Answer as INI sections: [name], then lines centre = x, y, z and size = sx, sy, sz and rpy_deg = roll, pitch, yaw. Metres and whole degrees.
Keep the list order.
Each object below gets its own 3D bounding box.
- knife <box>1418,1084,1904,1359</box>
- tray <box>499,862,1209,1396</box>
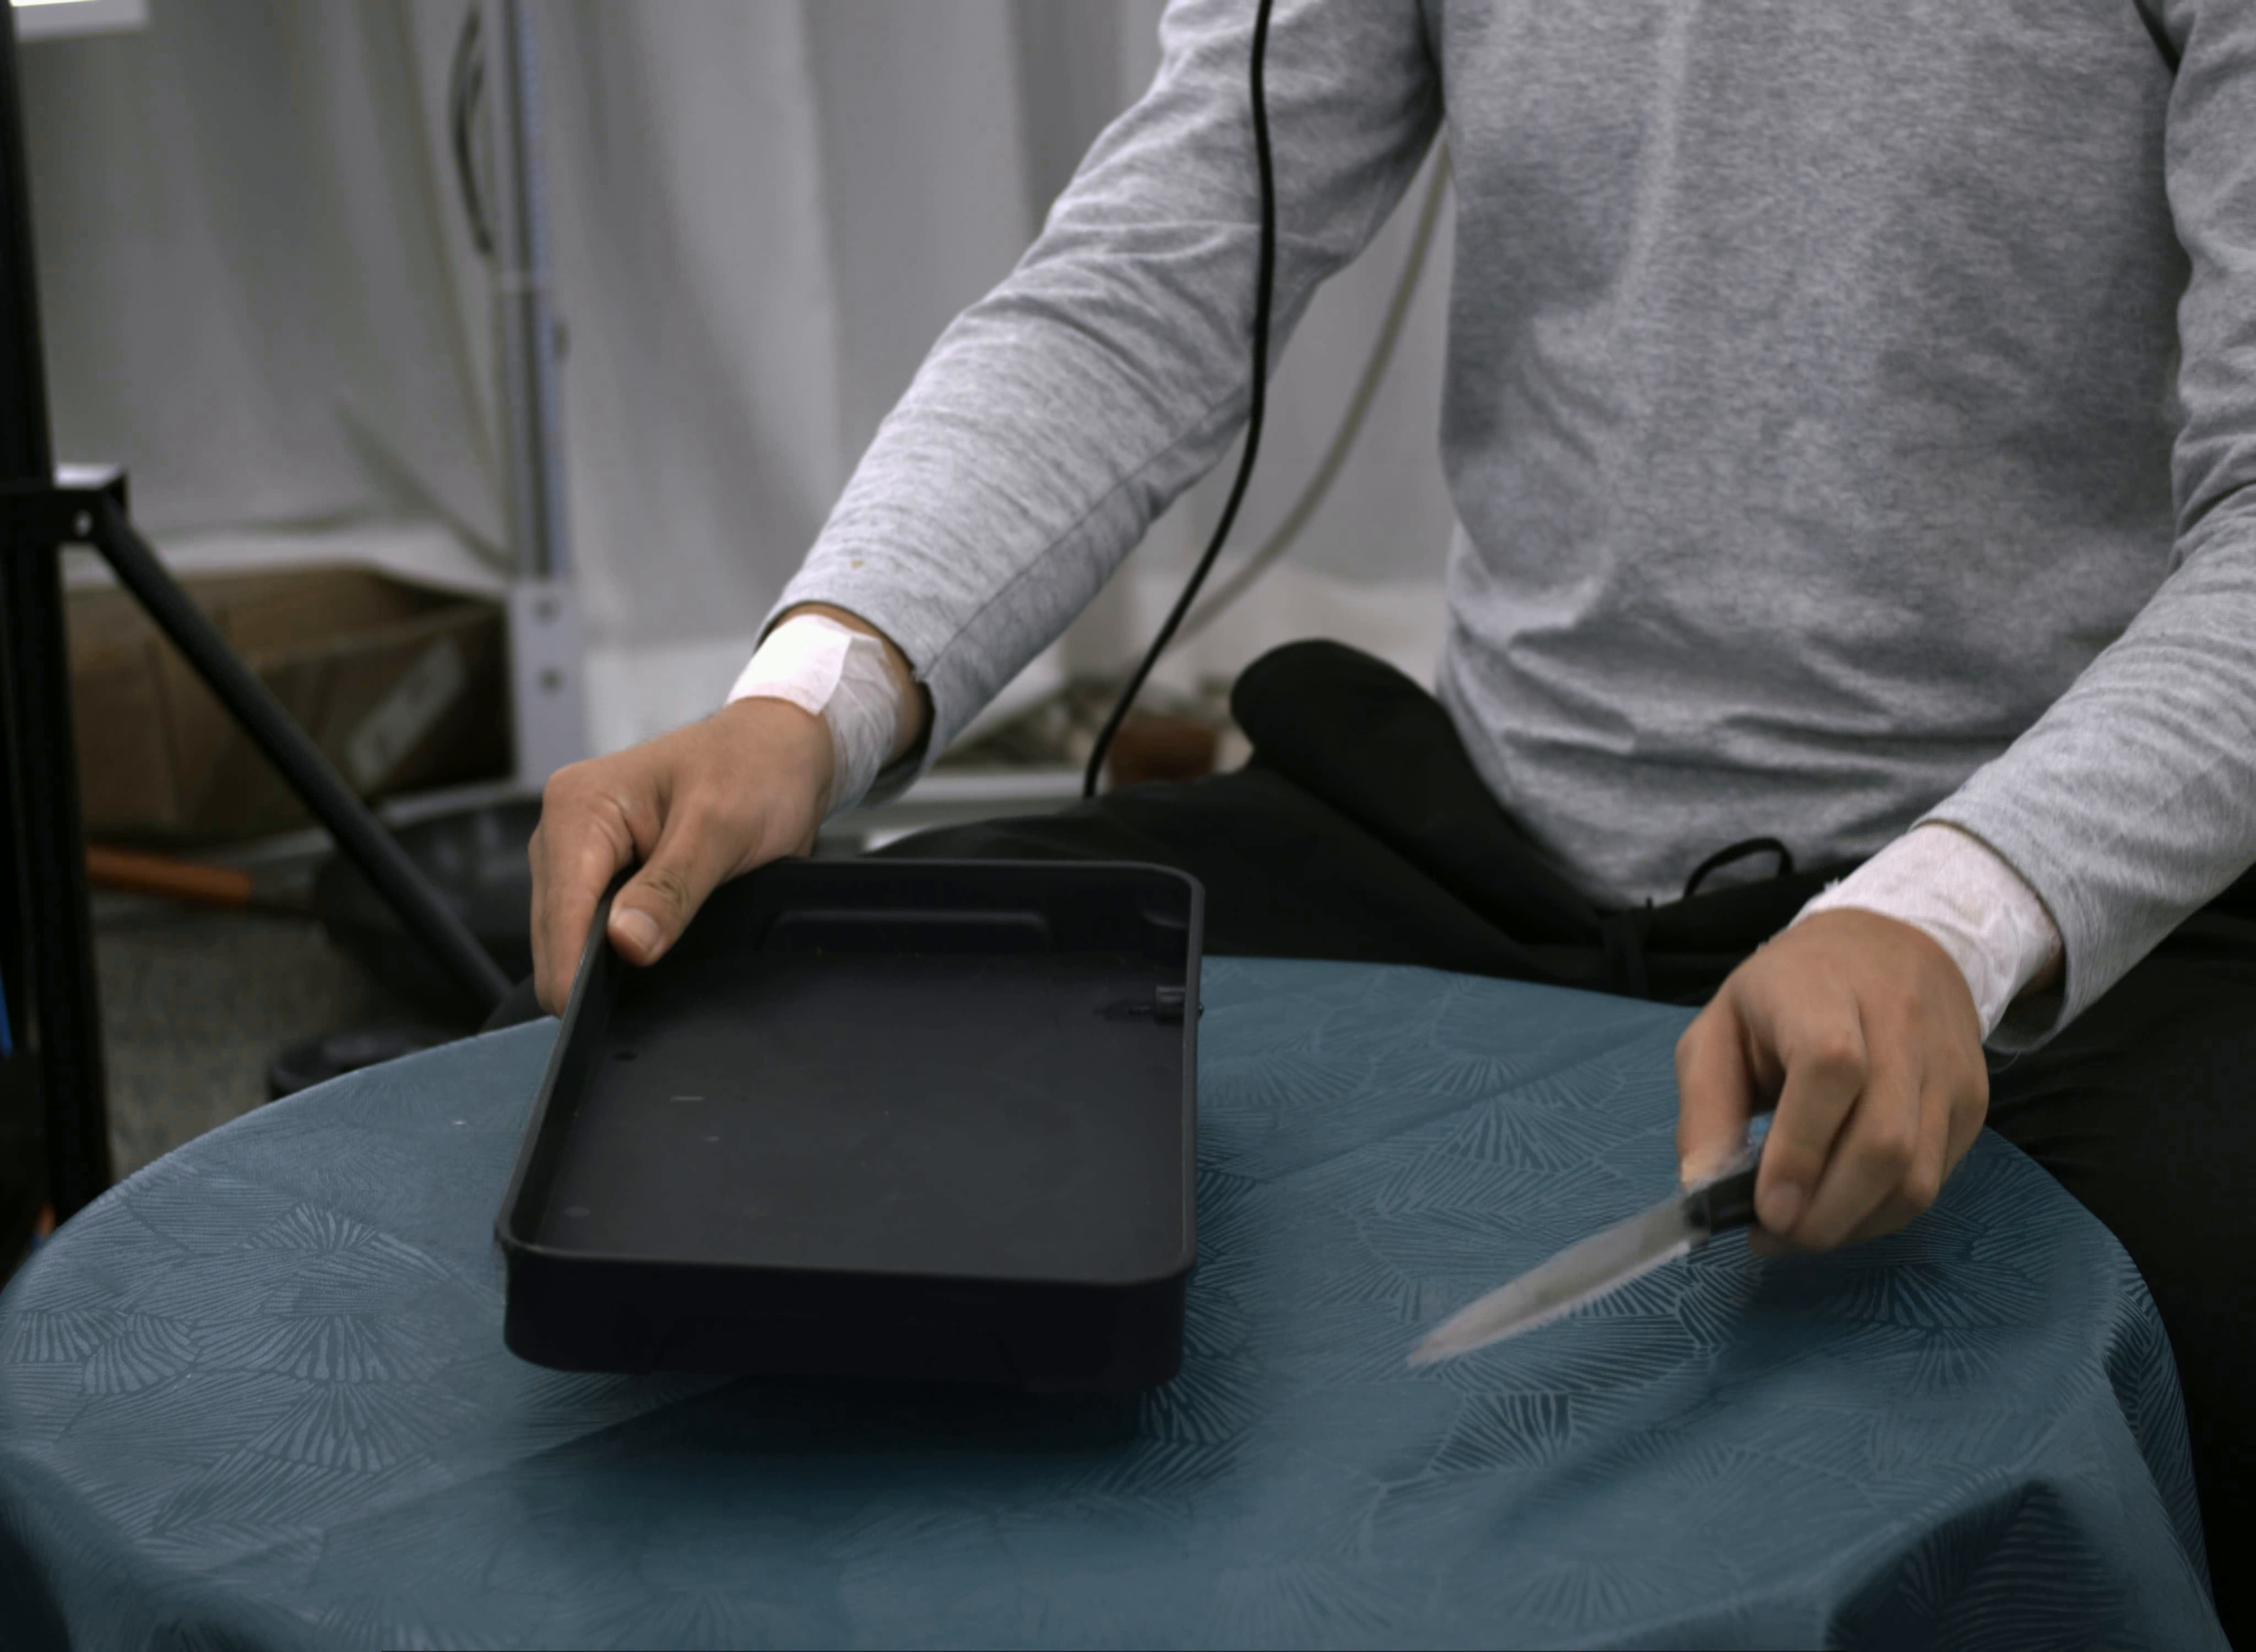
[knife]
centre = 0.141, 0.105, 1.400
size = 0.025, 0.016, 0.233
rpy_deg = 12, 21, 35
[tray]
centre = -0.072, 0.078, 1.498
size = 0.183, 0.037, 0.319
rpy_deg = 2, 18, 0
